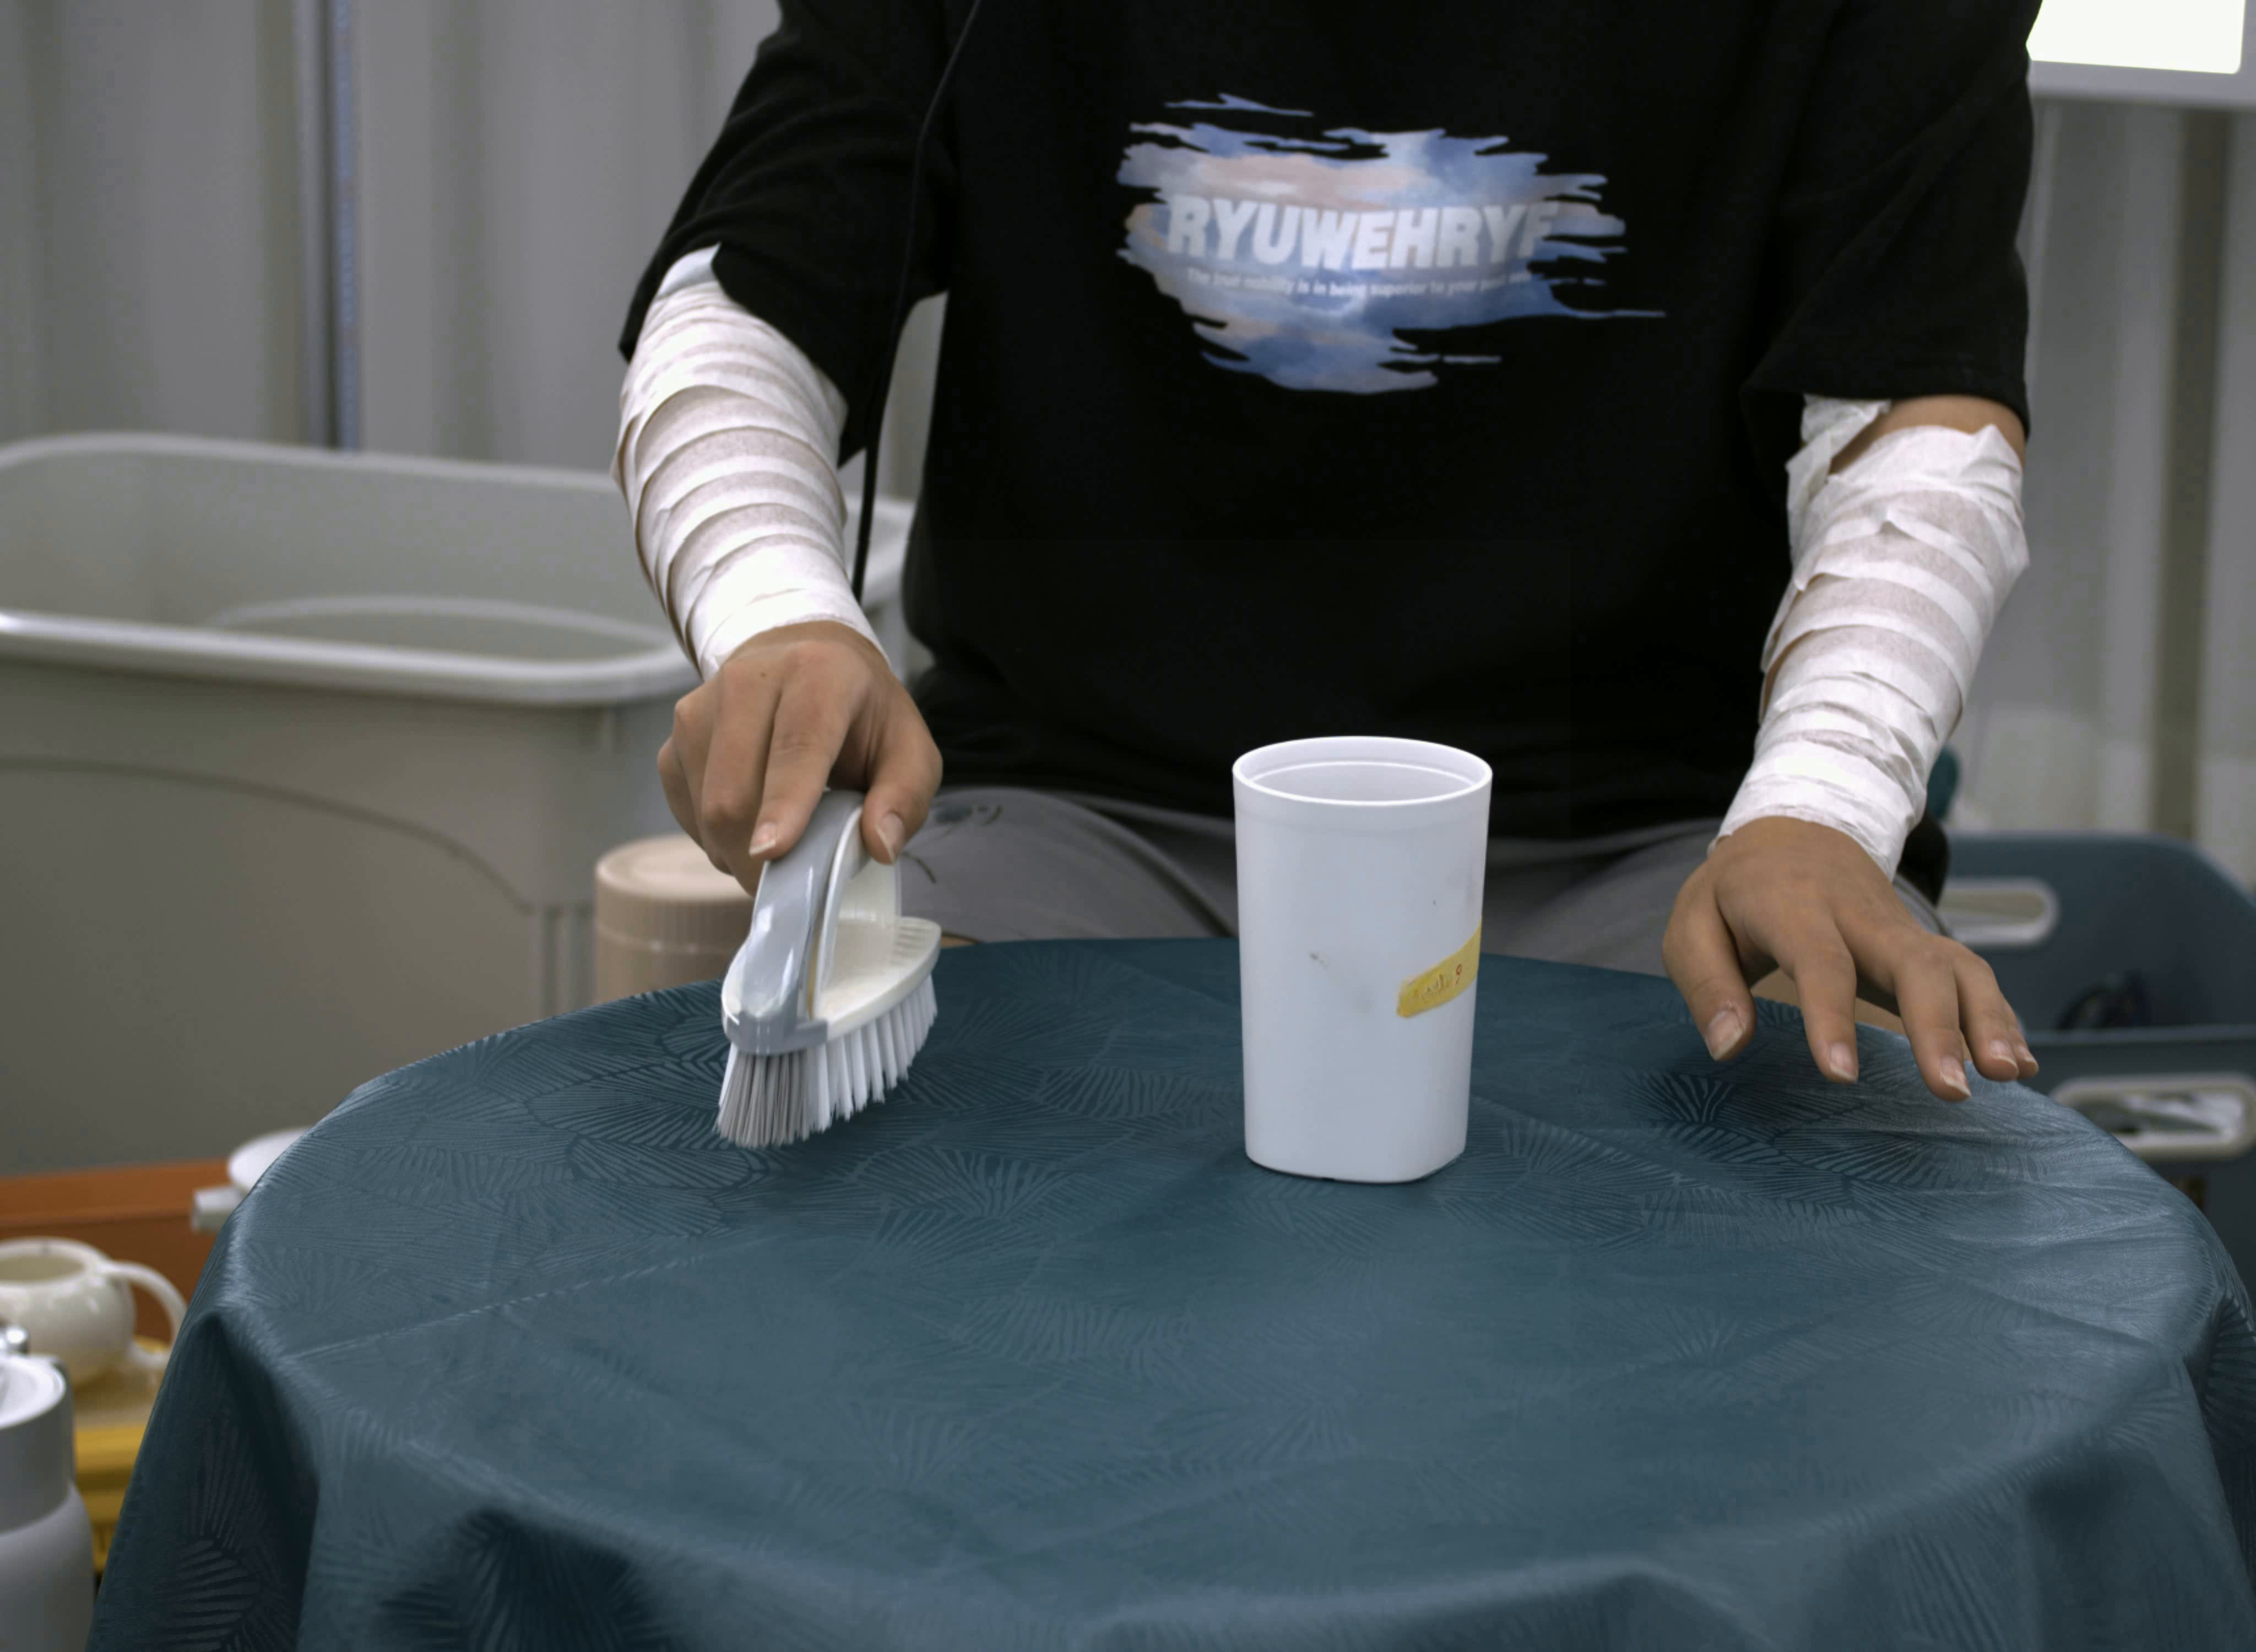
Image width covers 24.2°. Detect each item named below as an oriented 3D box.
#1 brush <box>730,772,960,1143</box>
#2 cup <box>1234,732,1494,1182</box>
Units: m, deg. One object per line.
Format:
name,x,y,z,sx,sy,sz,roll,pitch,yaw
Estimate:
brush,-0.097,0.037,1.666,0.061,0.095,0.175,-1,14,10
cup,0.074,0.041,1.647,0.081,0.126,0.081,0,17,1
